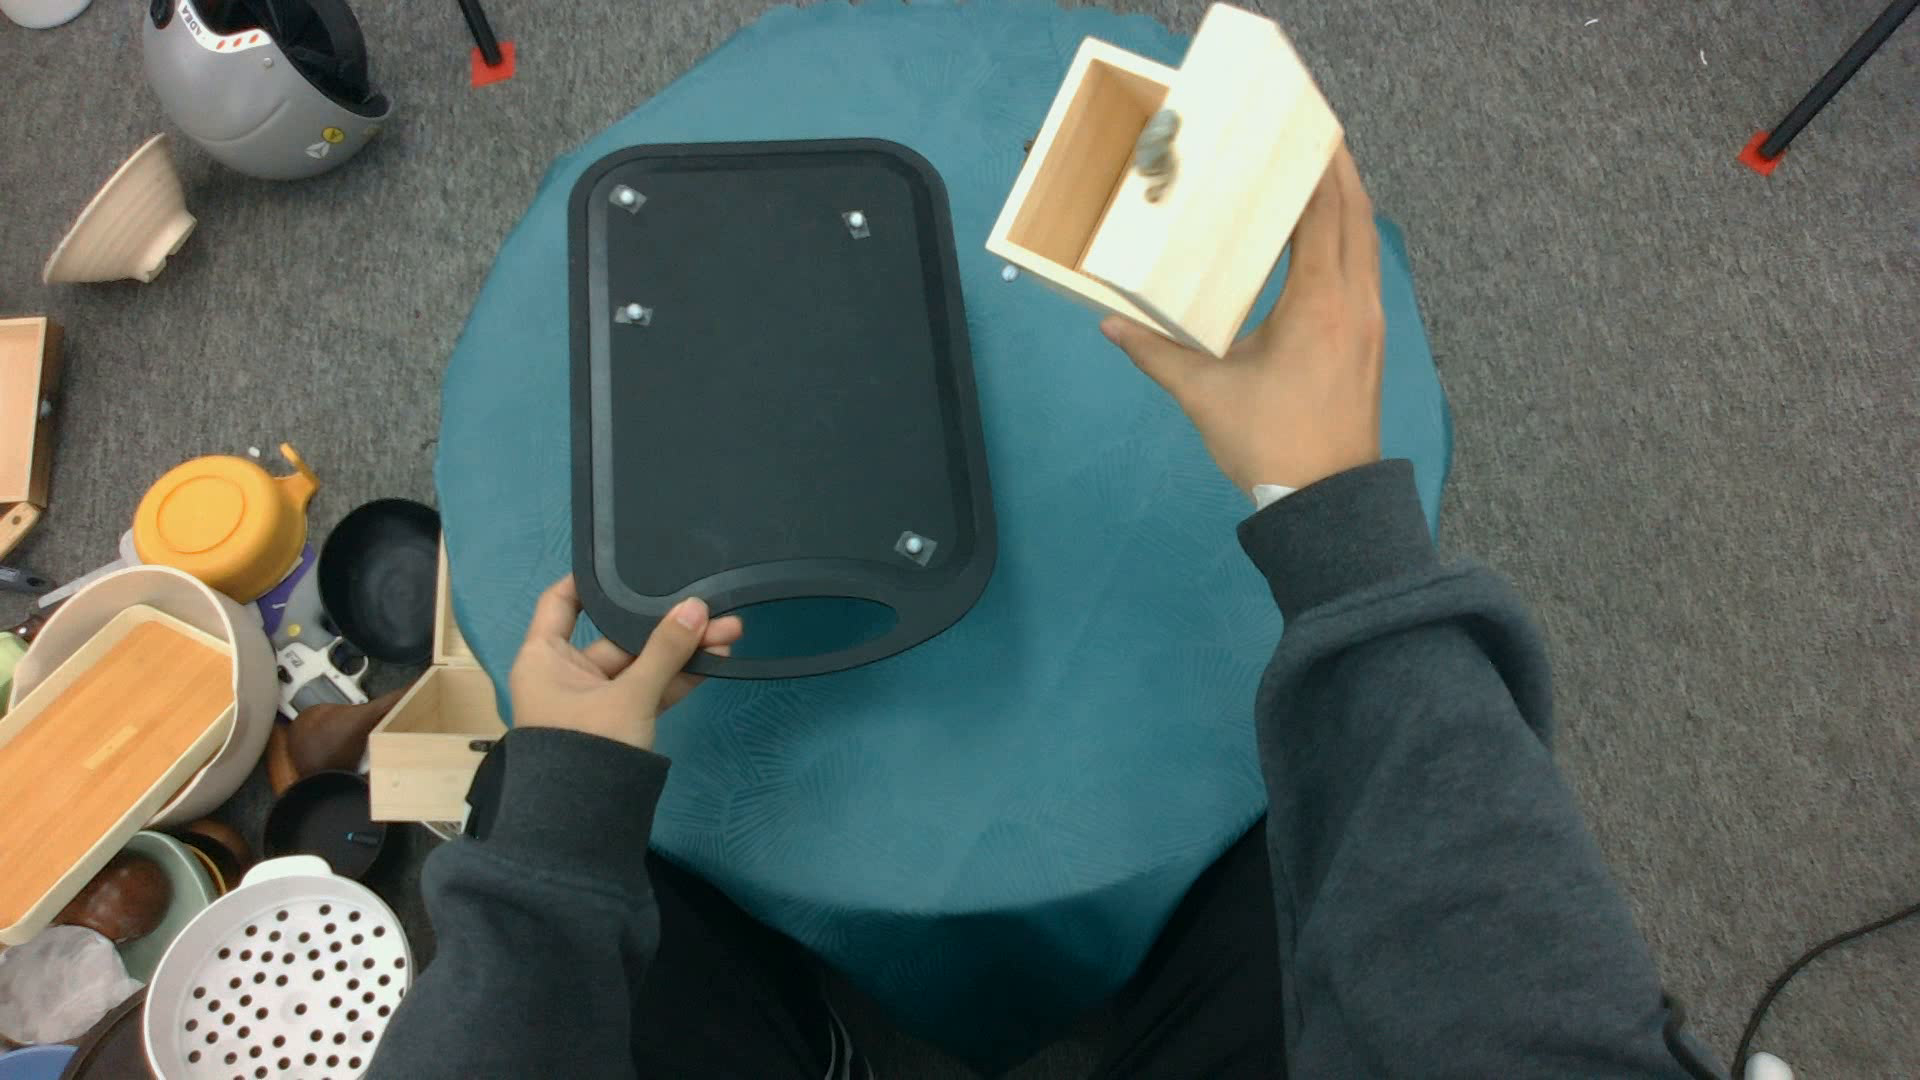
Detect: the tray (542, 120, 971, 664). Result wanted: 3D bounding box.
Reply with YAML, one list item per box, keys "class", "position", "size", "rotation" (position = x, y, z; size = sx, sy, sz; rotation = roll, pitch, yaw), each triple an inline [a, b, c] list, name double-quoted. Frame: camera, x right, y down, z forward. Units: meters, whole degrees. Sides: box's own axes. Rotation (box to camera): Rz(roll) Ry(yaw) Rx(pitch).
- class: "tray"
  position: [-0.110, -0.091, 0.719]
  size: [0.211, 0.010, 0.326]
  rotation: [-4, 66, -8]

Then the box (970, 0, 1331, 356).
- class: "box"
  position: [0.072, -0.159, 0.578]
  size: [0.134, 0.184, 0.102]
  rotation: [30, 93, 19]
